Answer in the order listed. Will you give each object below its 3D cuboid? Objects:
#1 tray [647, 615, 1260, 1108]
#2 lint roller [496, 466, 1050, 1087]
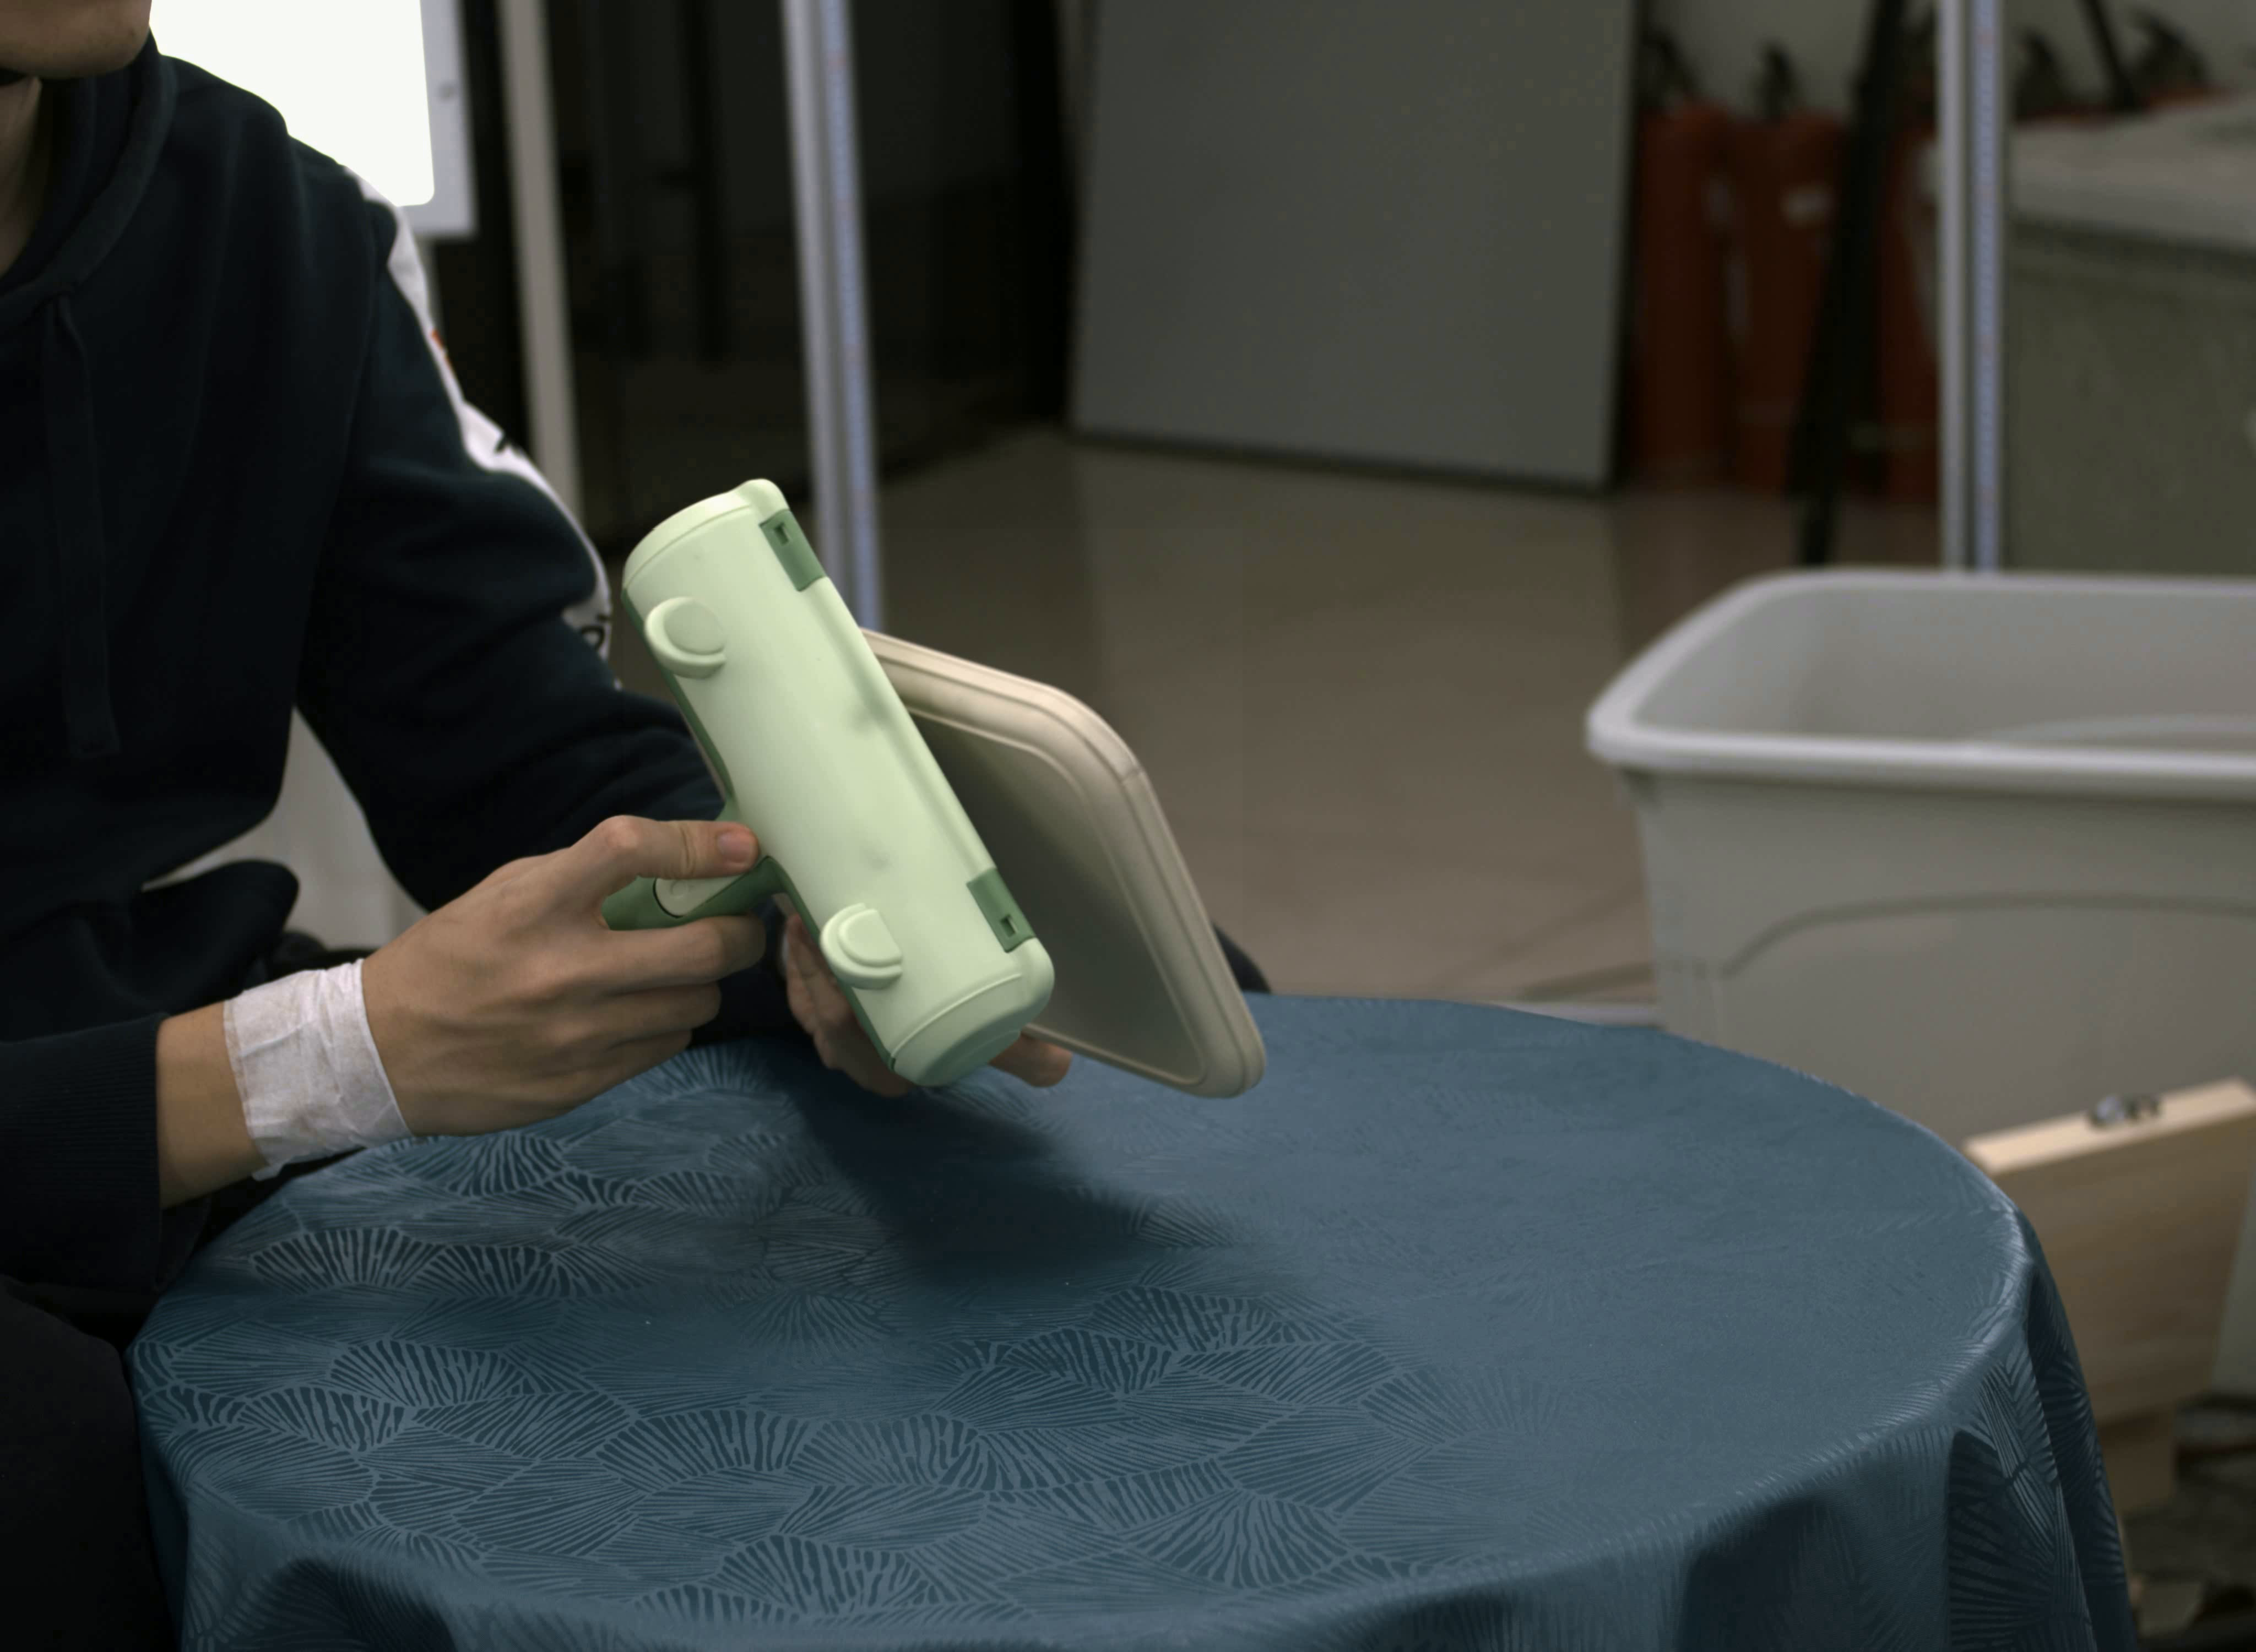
[{"bbox_3d":[-0.062,0.005,1.753,0.017,0.171,0.242,-41,37,-26],"label":"tray"},{"bbox_3d":[-0.139,0.016,1.690,0.183,0.201,0.081,-35,-17,15],"label":"lint roller"}]
